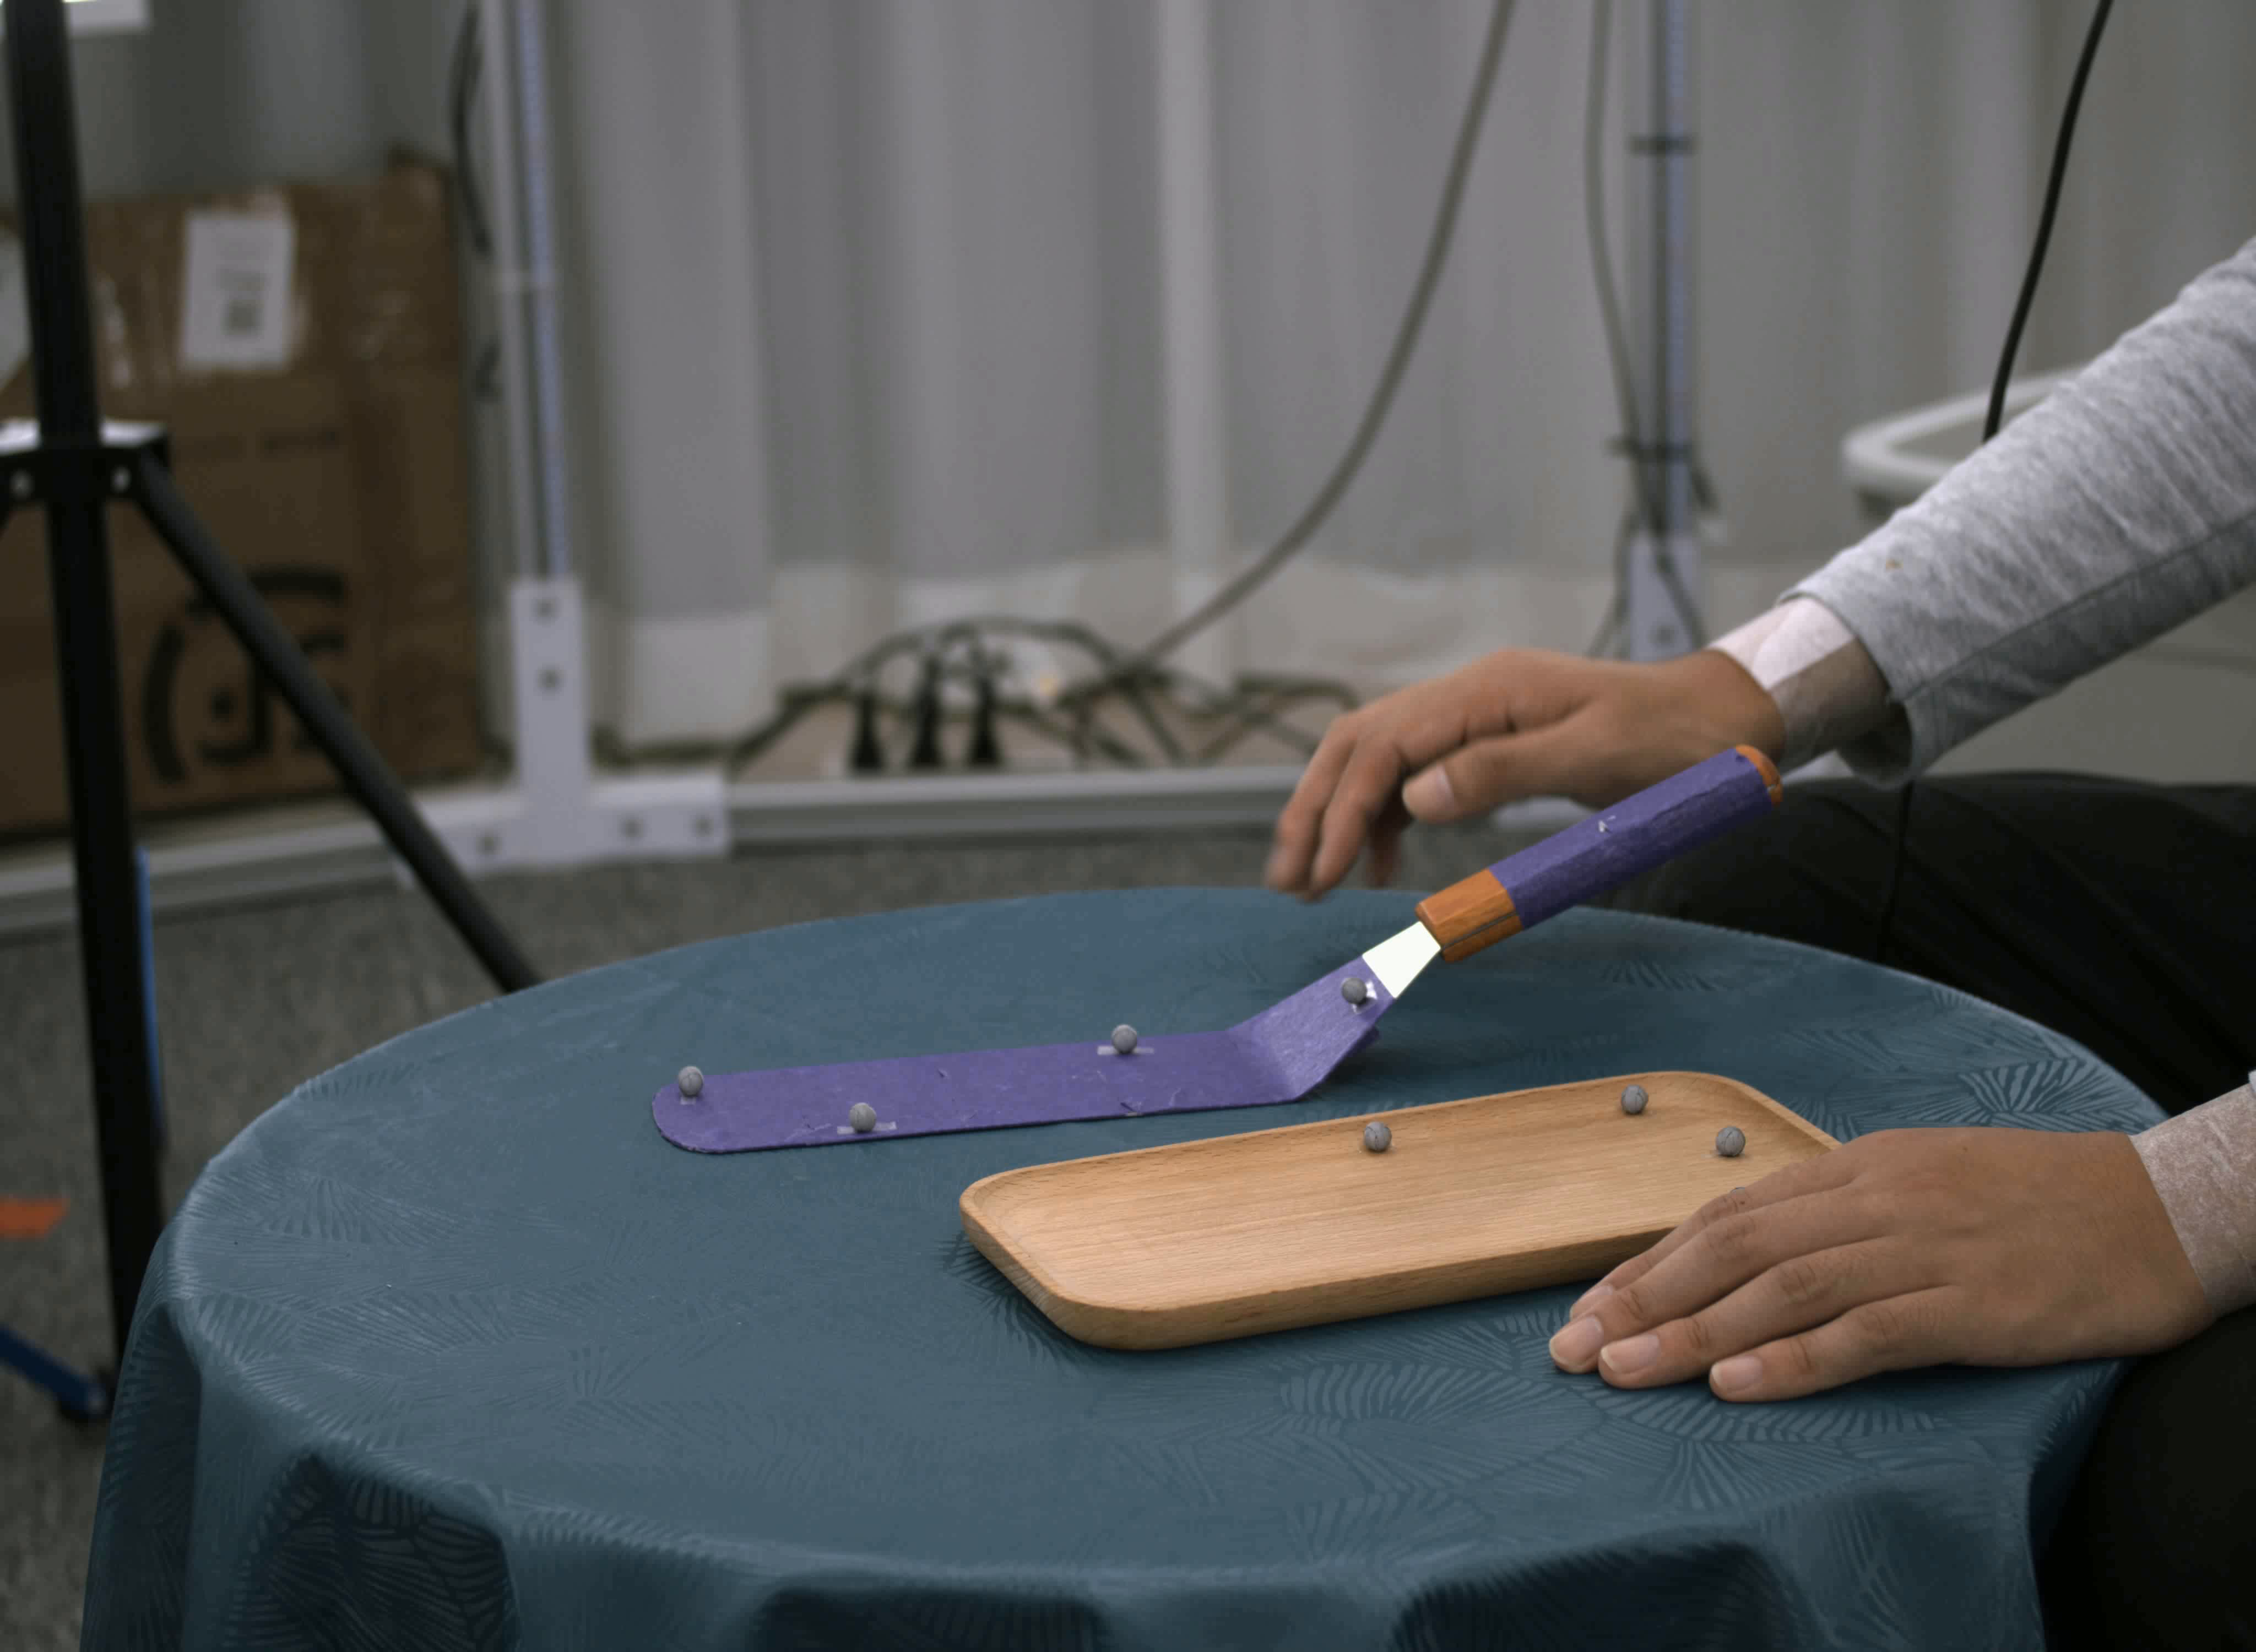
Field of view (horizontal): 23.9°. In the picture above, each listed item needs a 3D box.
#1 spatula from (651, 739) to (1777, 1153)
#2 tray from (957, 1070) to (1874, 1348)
[{"bbox_3d":[0.029,0.038,1.651,0.358,0.086,0.076,-29,19,0],"label":"spatula"},{"bbox_3d":[0.082,0.108,1.511,0.246,0.023,0.132,-8,13,-17],"label":"tray"}]
